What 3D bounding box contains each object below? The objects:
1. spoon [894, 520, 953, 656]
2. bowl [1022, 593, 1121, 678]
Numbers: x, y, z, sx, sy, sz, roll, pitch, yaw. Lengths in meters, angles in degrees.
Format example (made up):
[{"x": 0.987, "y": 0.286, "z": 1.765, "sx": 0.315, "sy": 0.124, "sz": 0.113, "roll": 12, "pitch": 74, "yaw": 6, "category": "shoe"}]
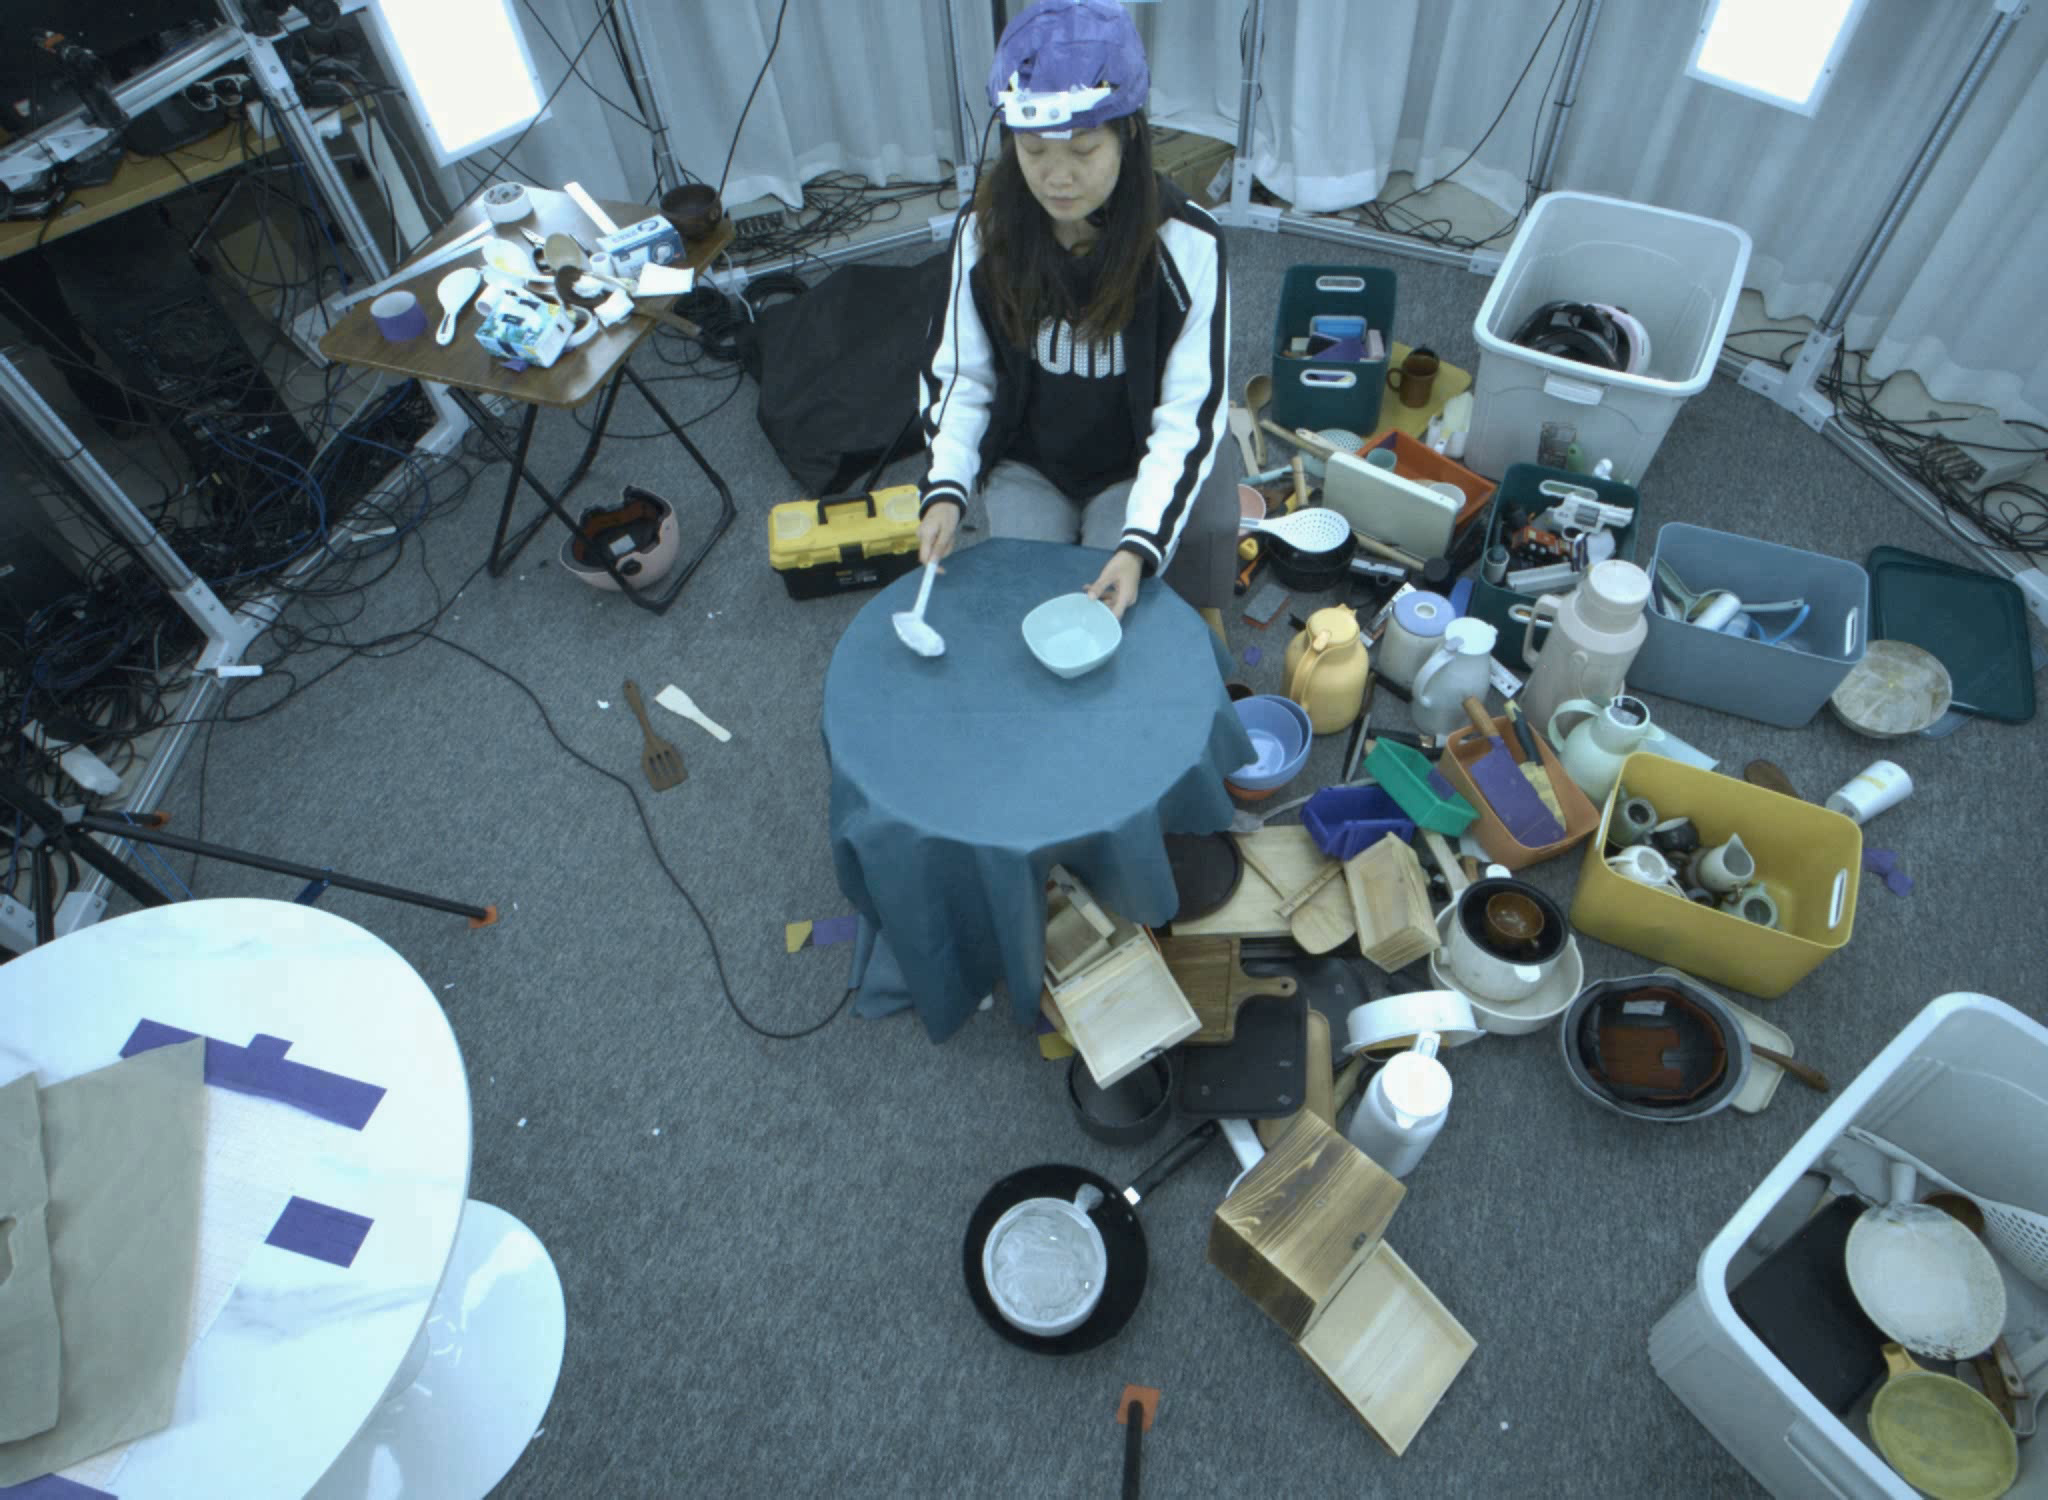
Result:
[{"x": -0.137, "y": -0.260, "z": 1.916, "sx": 0.058, "sy": 0.103, "sz": 0.276, "roll": -14, "pitch": 50, "yaw": 44, "category": "spoon"}, {"x": 0.073, "y": -0.165, "z": 1.870, "sx": 0.151, "sy": 0.059, "sz": 0.150, "roll": 0, "pitch": 55, "yaw": 2, "category": "bowl"}]
